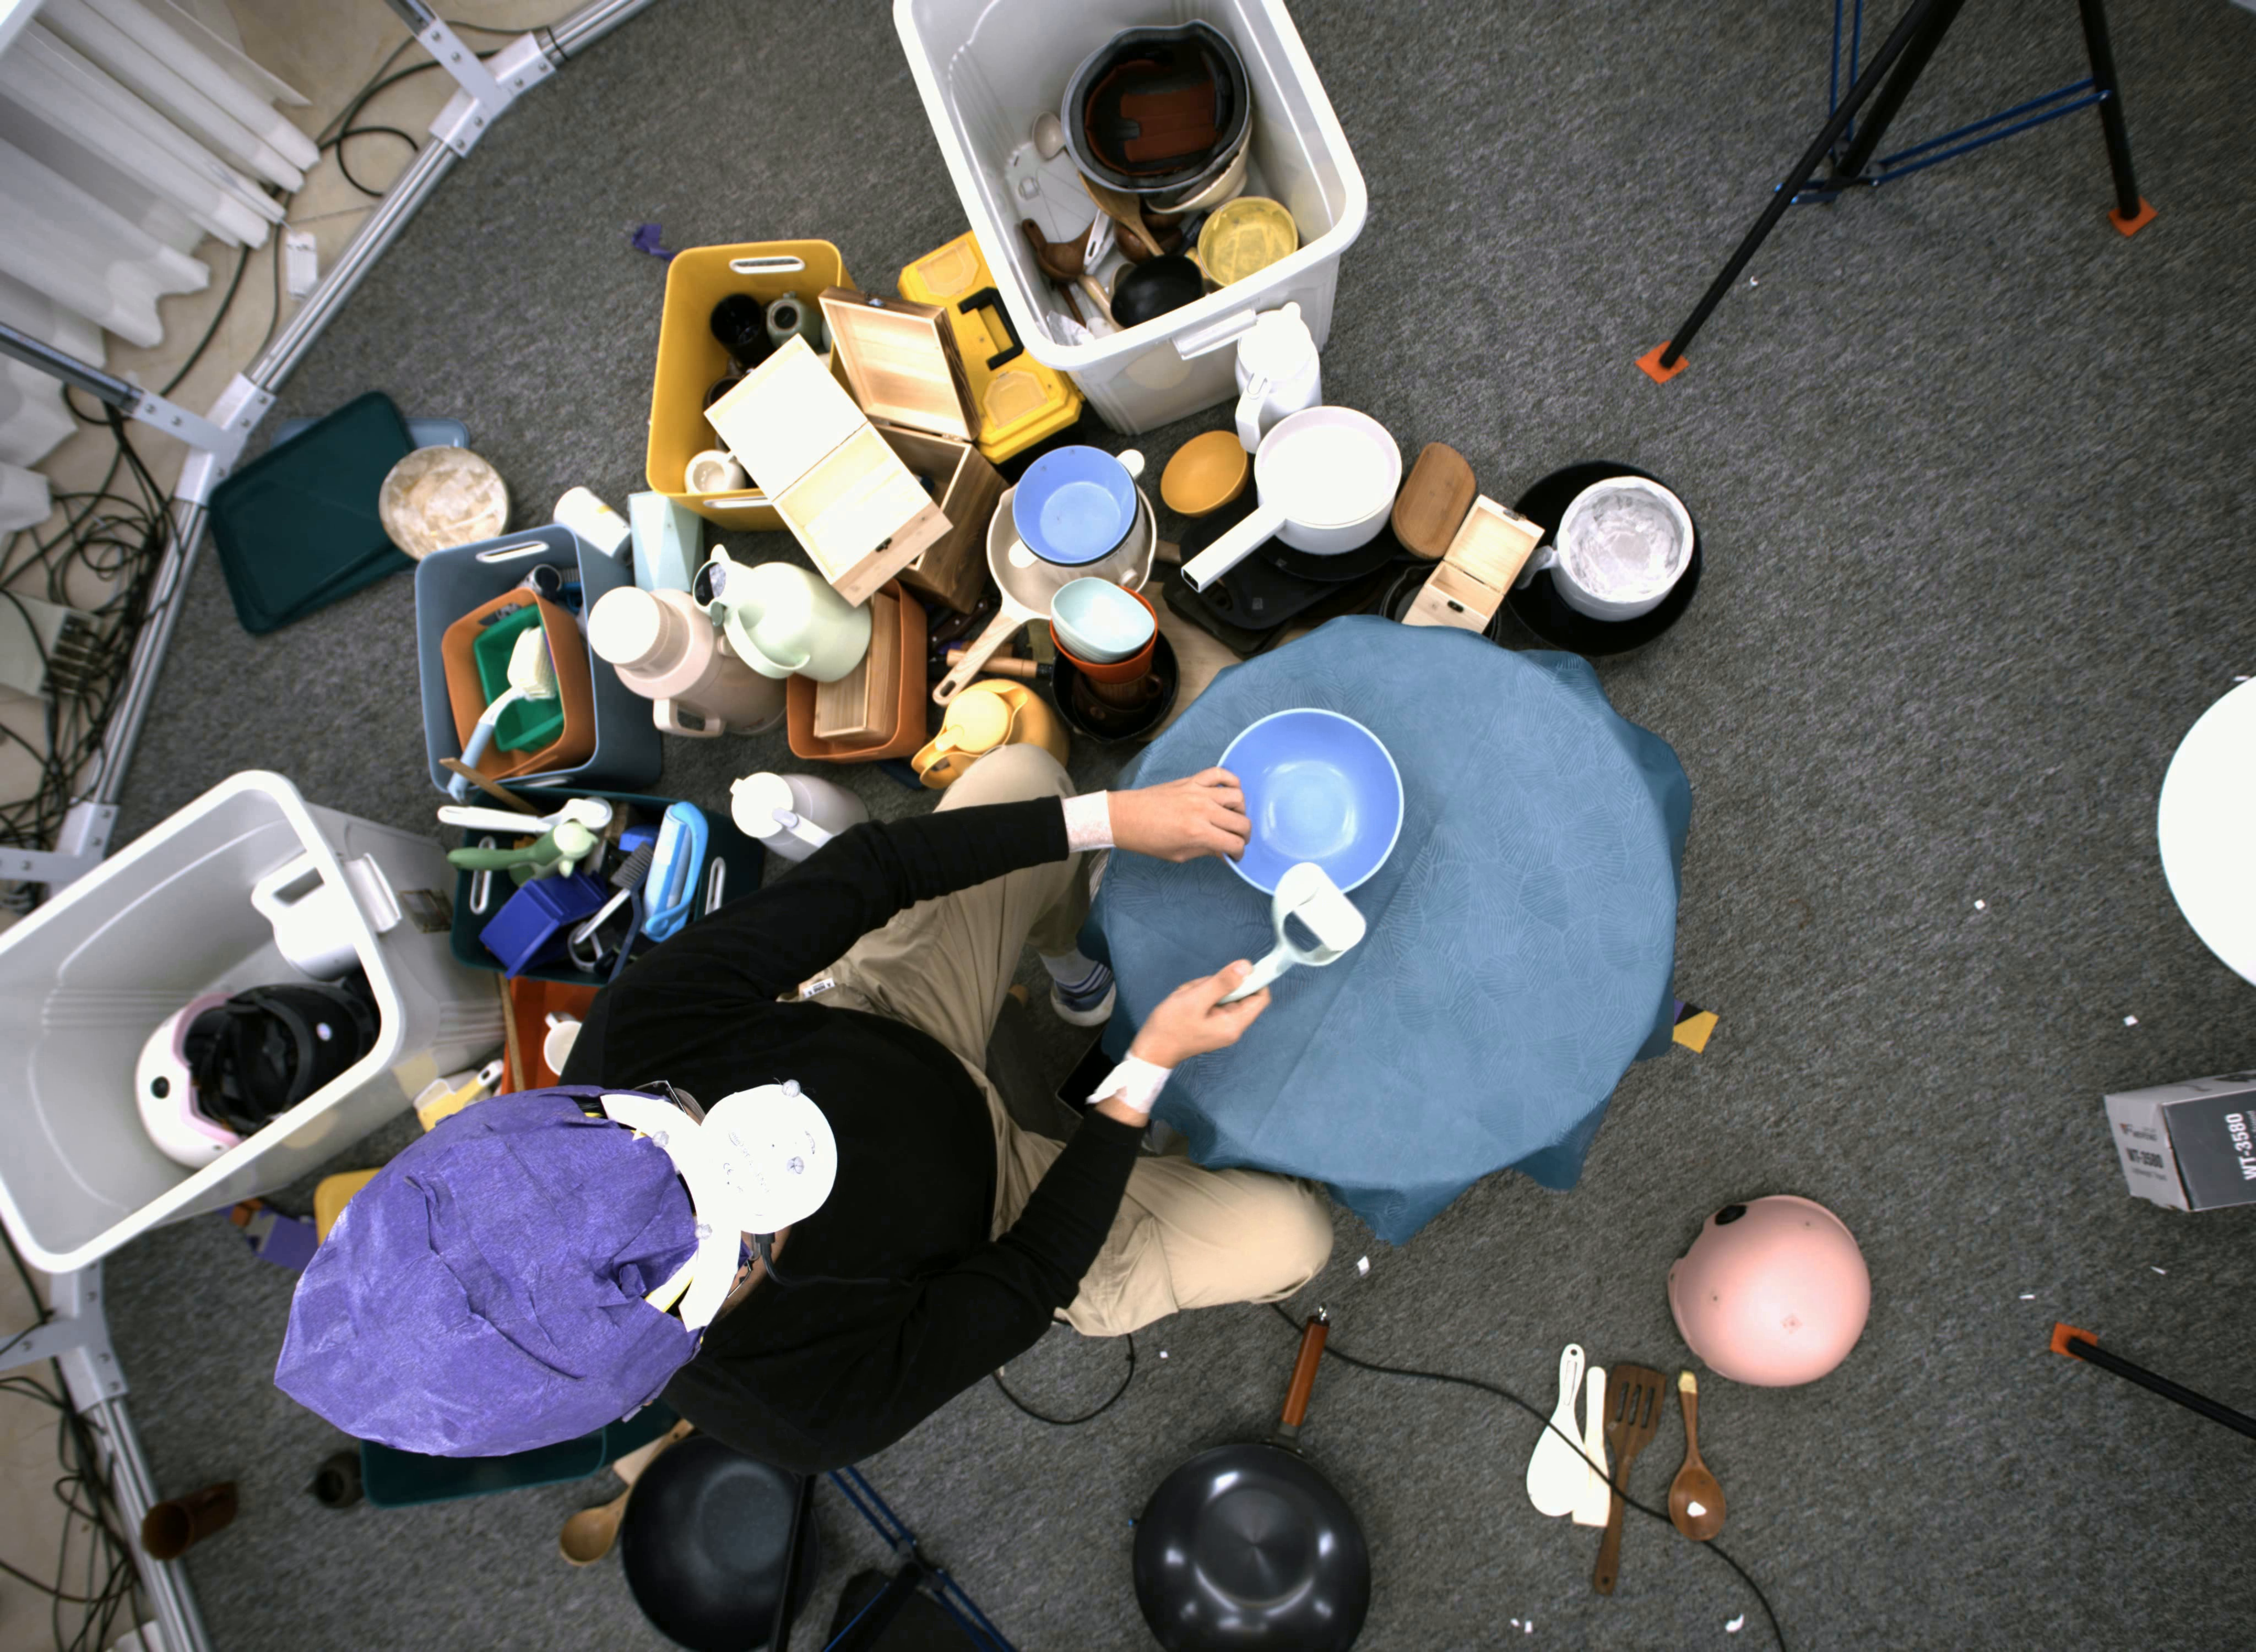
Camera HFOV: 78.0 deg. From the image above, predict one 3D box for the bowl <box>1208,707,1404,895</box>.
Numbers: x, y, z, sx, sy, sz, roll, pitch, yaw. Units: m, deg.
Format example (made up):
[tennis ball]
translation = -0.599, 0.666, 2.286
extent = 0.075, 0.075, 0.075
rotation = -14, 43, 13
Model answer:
[bowl]
translation = 0.185, -0.019, 1.431
extent = 0.197, 0.095, 0.196
rotation = -1, 87, 9

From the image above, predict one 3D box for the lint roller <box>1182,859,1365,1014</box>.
[lint roller]
translation = 0.133, 0.122, 1.351
extent = 0.199, 0.118, 0.047
rotation = -42, 47, 7
